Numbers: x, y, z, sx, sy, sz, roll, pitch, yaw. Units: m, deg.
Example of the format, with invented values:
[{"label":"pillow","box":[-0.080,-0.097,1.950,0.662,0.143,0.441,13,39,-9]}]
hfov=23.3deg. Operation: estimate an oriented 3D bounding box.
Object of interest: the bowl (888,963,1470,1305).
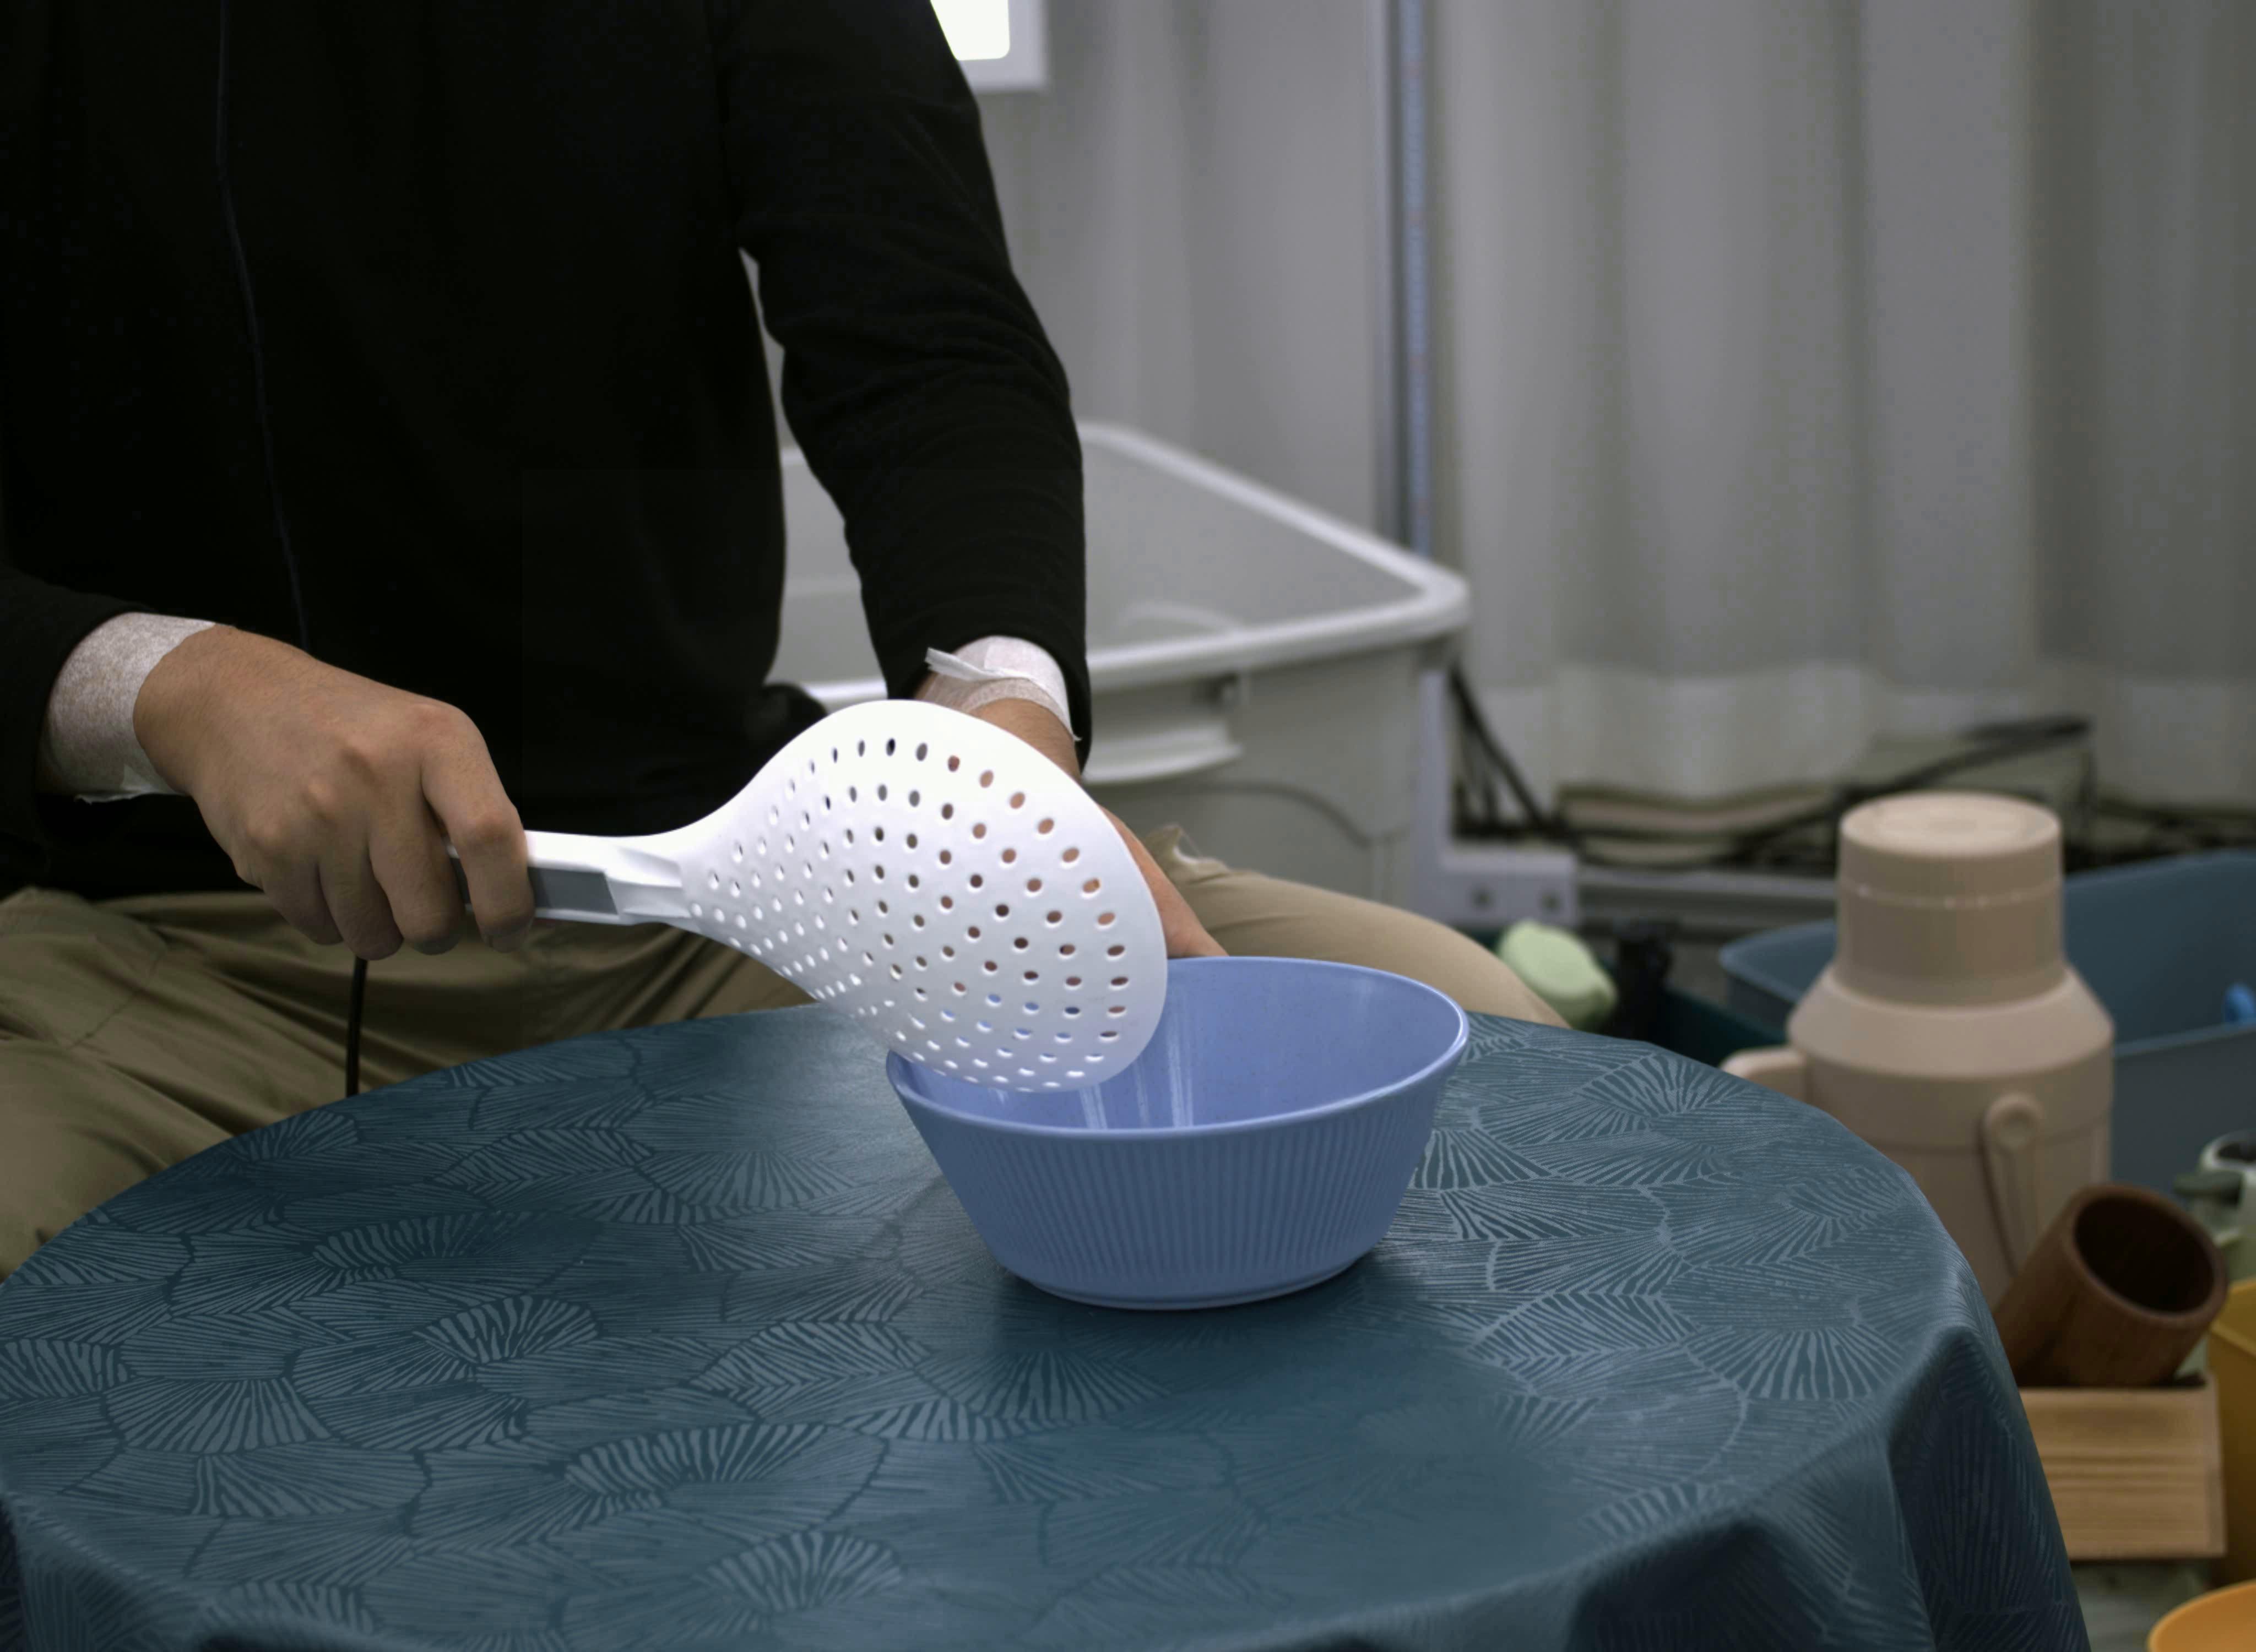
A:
[{"label":"bowl","box":[0.017,0.095,1.647,0.175,0.070,0.177,-4,13,1]}]

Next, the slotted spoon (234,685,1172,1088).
[{"label":"slotted spoon","box":[-0.139,0.015,1.664,0.351,0.135,0.046,7,33,38]}]
